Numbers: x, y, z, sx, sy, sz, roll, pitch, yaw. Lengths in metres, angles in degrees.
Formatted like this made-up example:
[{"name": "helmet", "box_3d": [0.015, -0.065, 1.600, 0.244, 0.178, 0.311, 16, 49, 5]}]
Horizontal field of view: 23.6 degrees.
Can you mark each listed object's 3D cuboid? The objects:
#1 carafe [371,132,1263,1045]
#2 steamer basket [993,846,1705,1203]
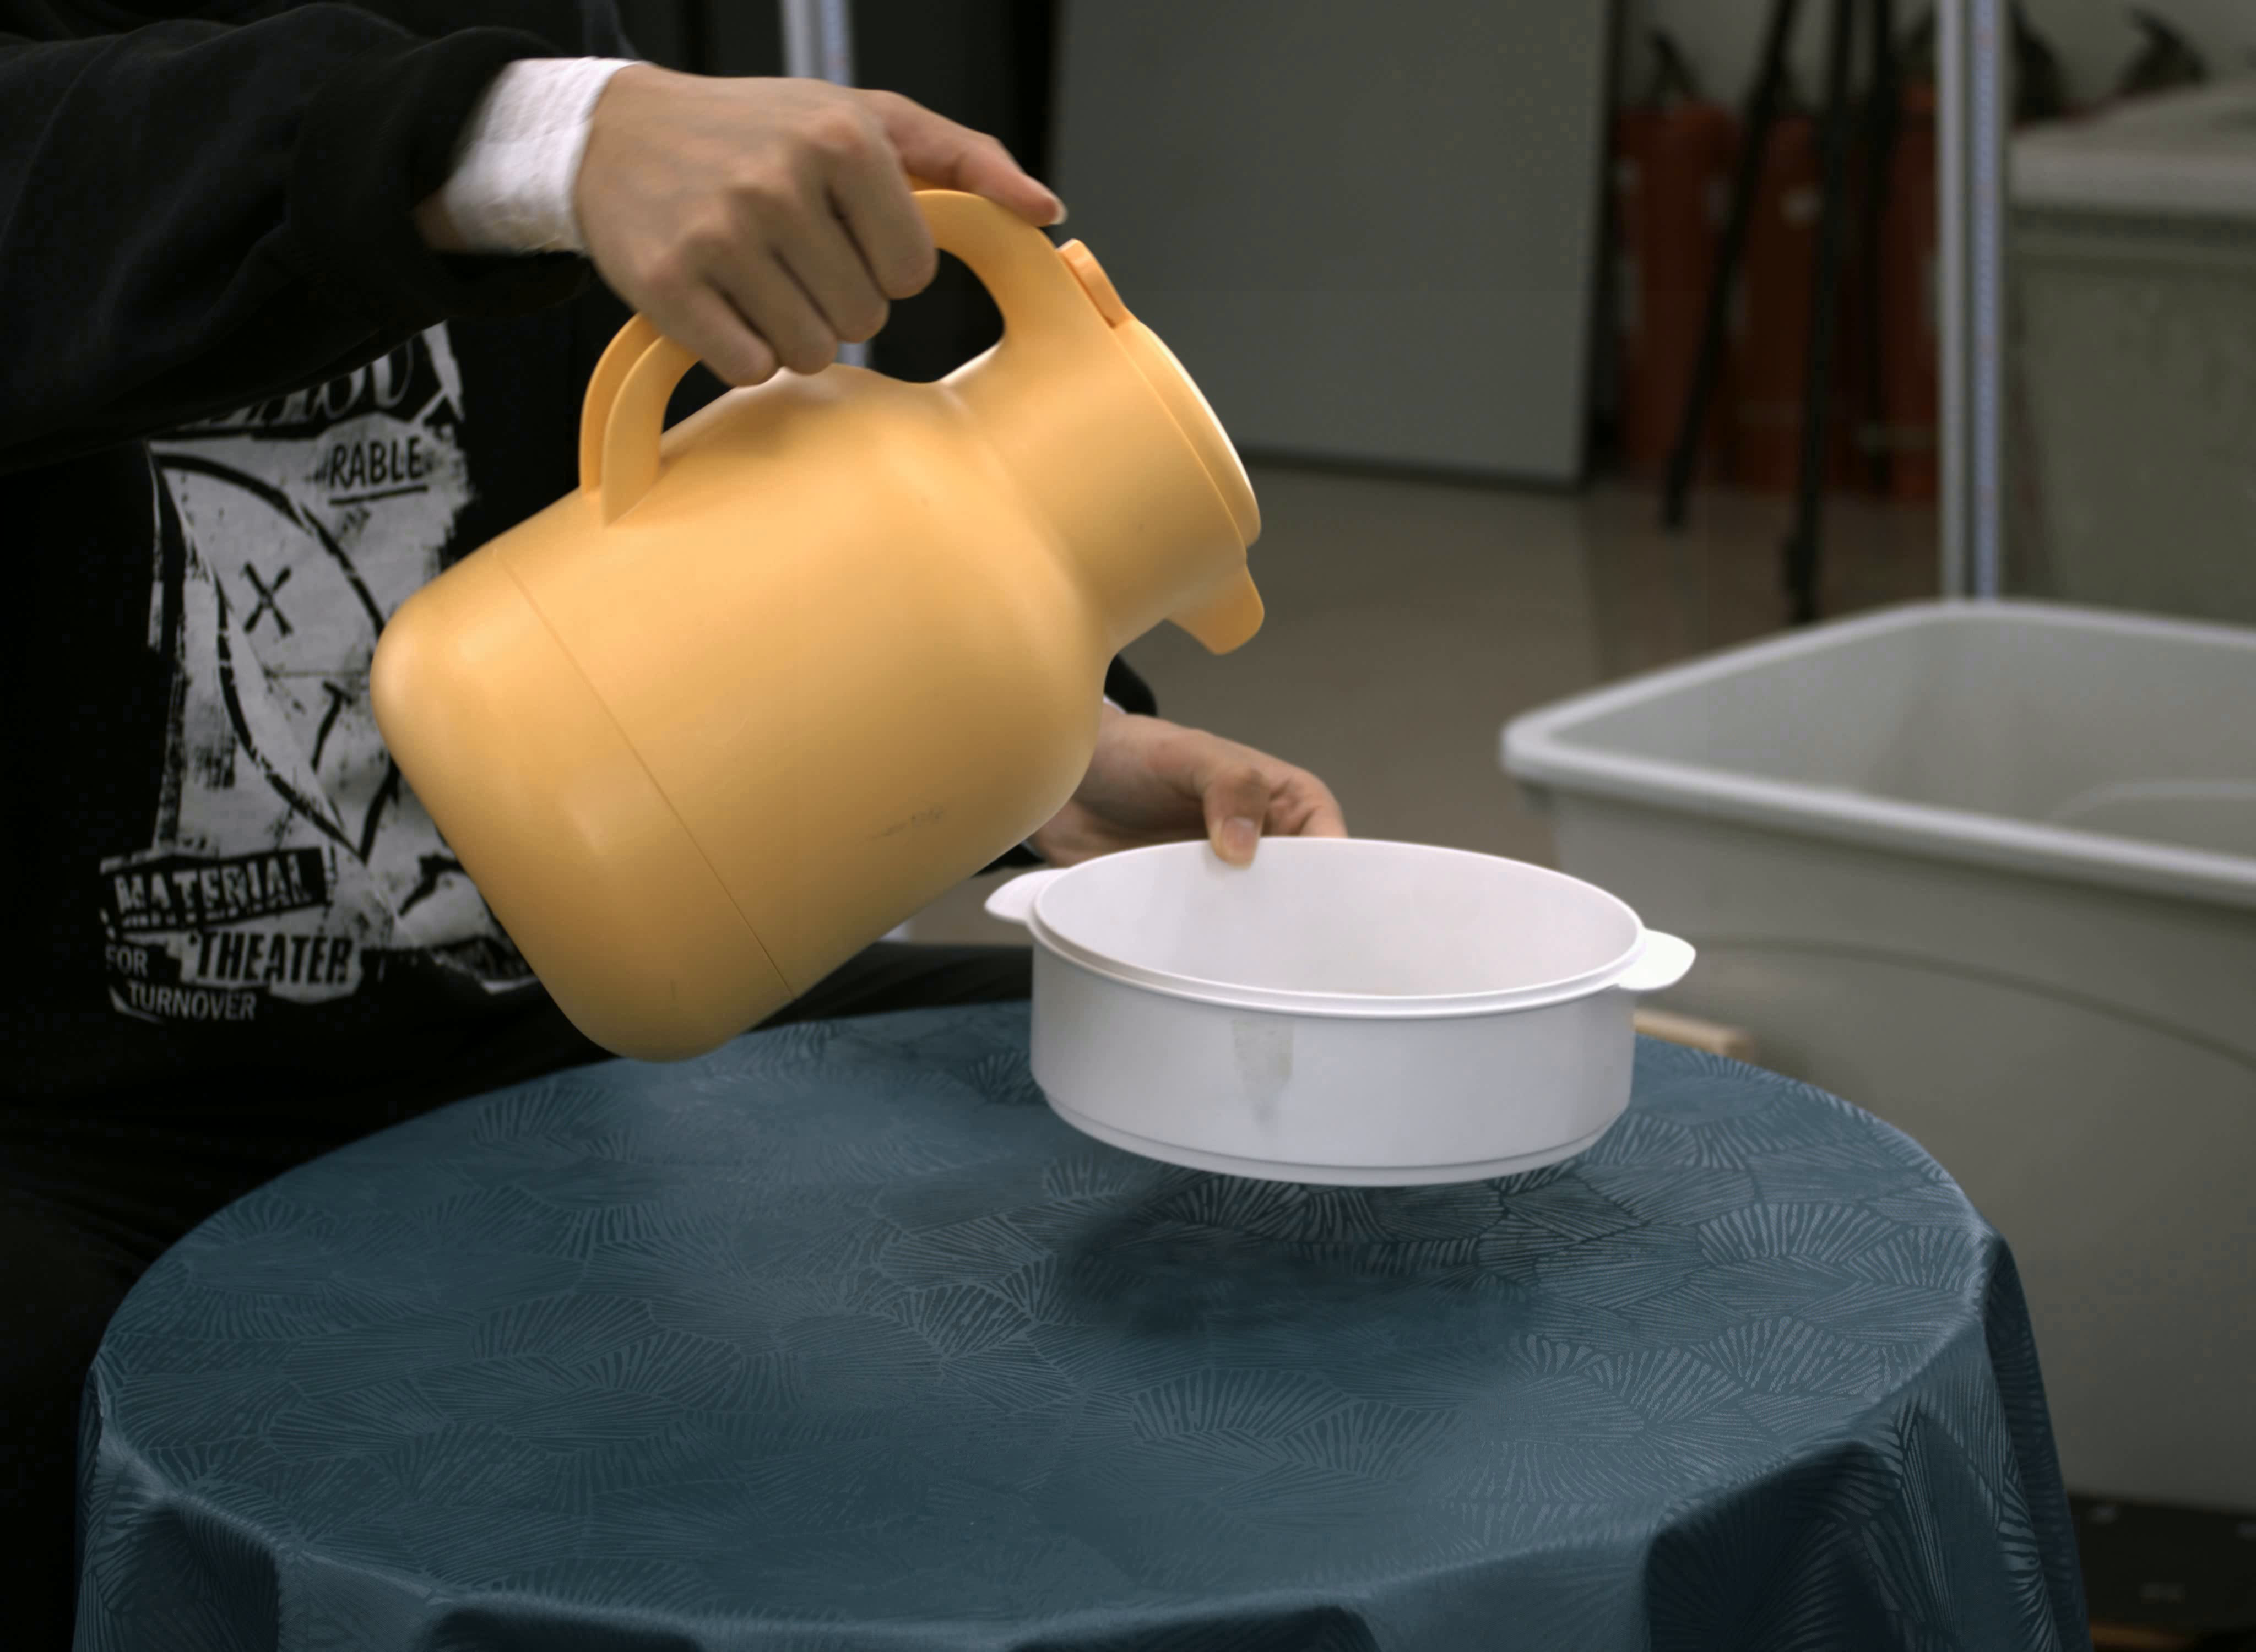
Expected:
[{"name": "carafe", "box_3d": [-0.094, -0.077, 1.593, 0.258, 0.202, 0.165, -33, 26, -8]}, {"name": "steamer basket", "box_3d": [0.069, 0.063, 1.717, 0.230, 0.070, 0.200, 6, 15, 17]}]
